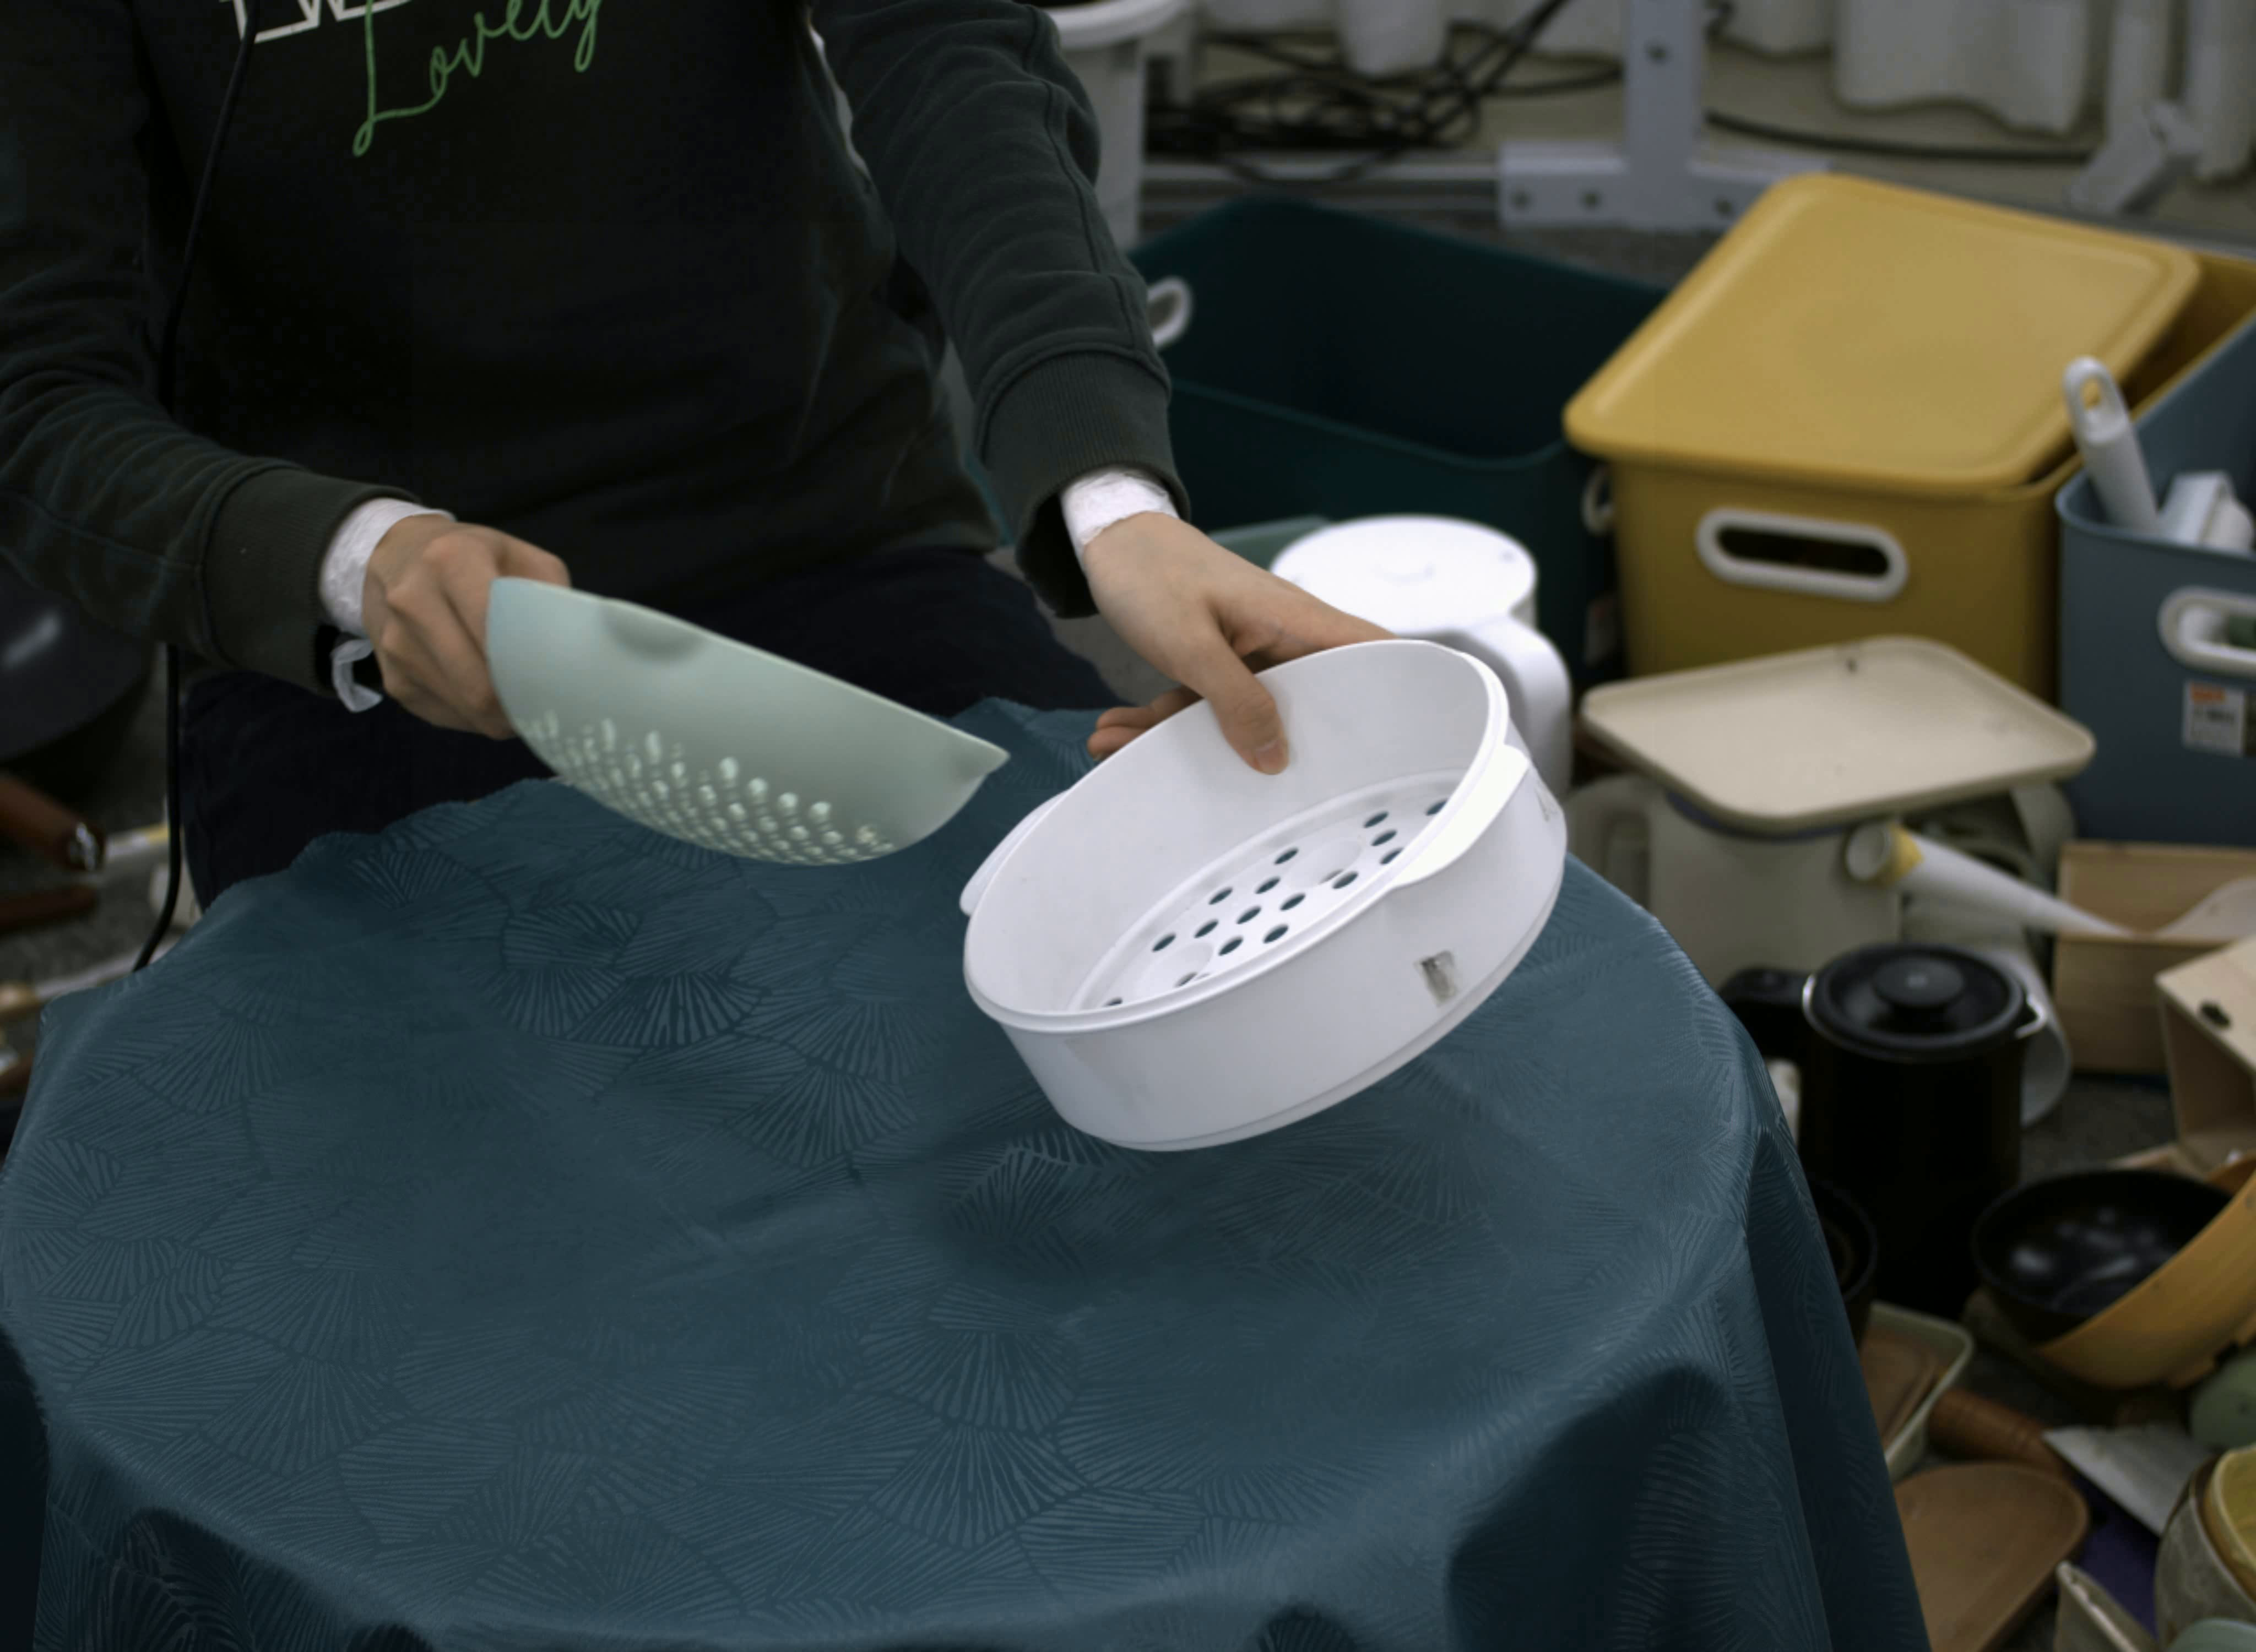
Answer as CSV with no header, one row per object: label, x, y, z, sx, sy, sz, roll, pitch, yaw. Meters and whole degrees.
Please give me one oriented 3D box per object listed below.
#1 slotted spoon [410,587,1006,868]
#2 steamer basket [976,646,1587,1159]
slotted spoon,-0.171,-0.041,1.864,0.169,0.075,0.358,21,1,-26
steamer basket,0.053,0.025,1.832,0.228,0.069,0.205,-7,31,44
